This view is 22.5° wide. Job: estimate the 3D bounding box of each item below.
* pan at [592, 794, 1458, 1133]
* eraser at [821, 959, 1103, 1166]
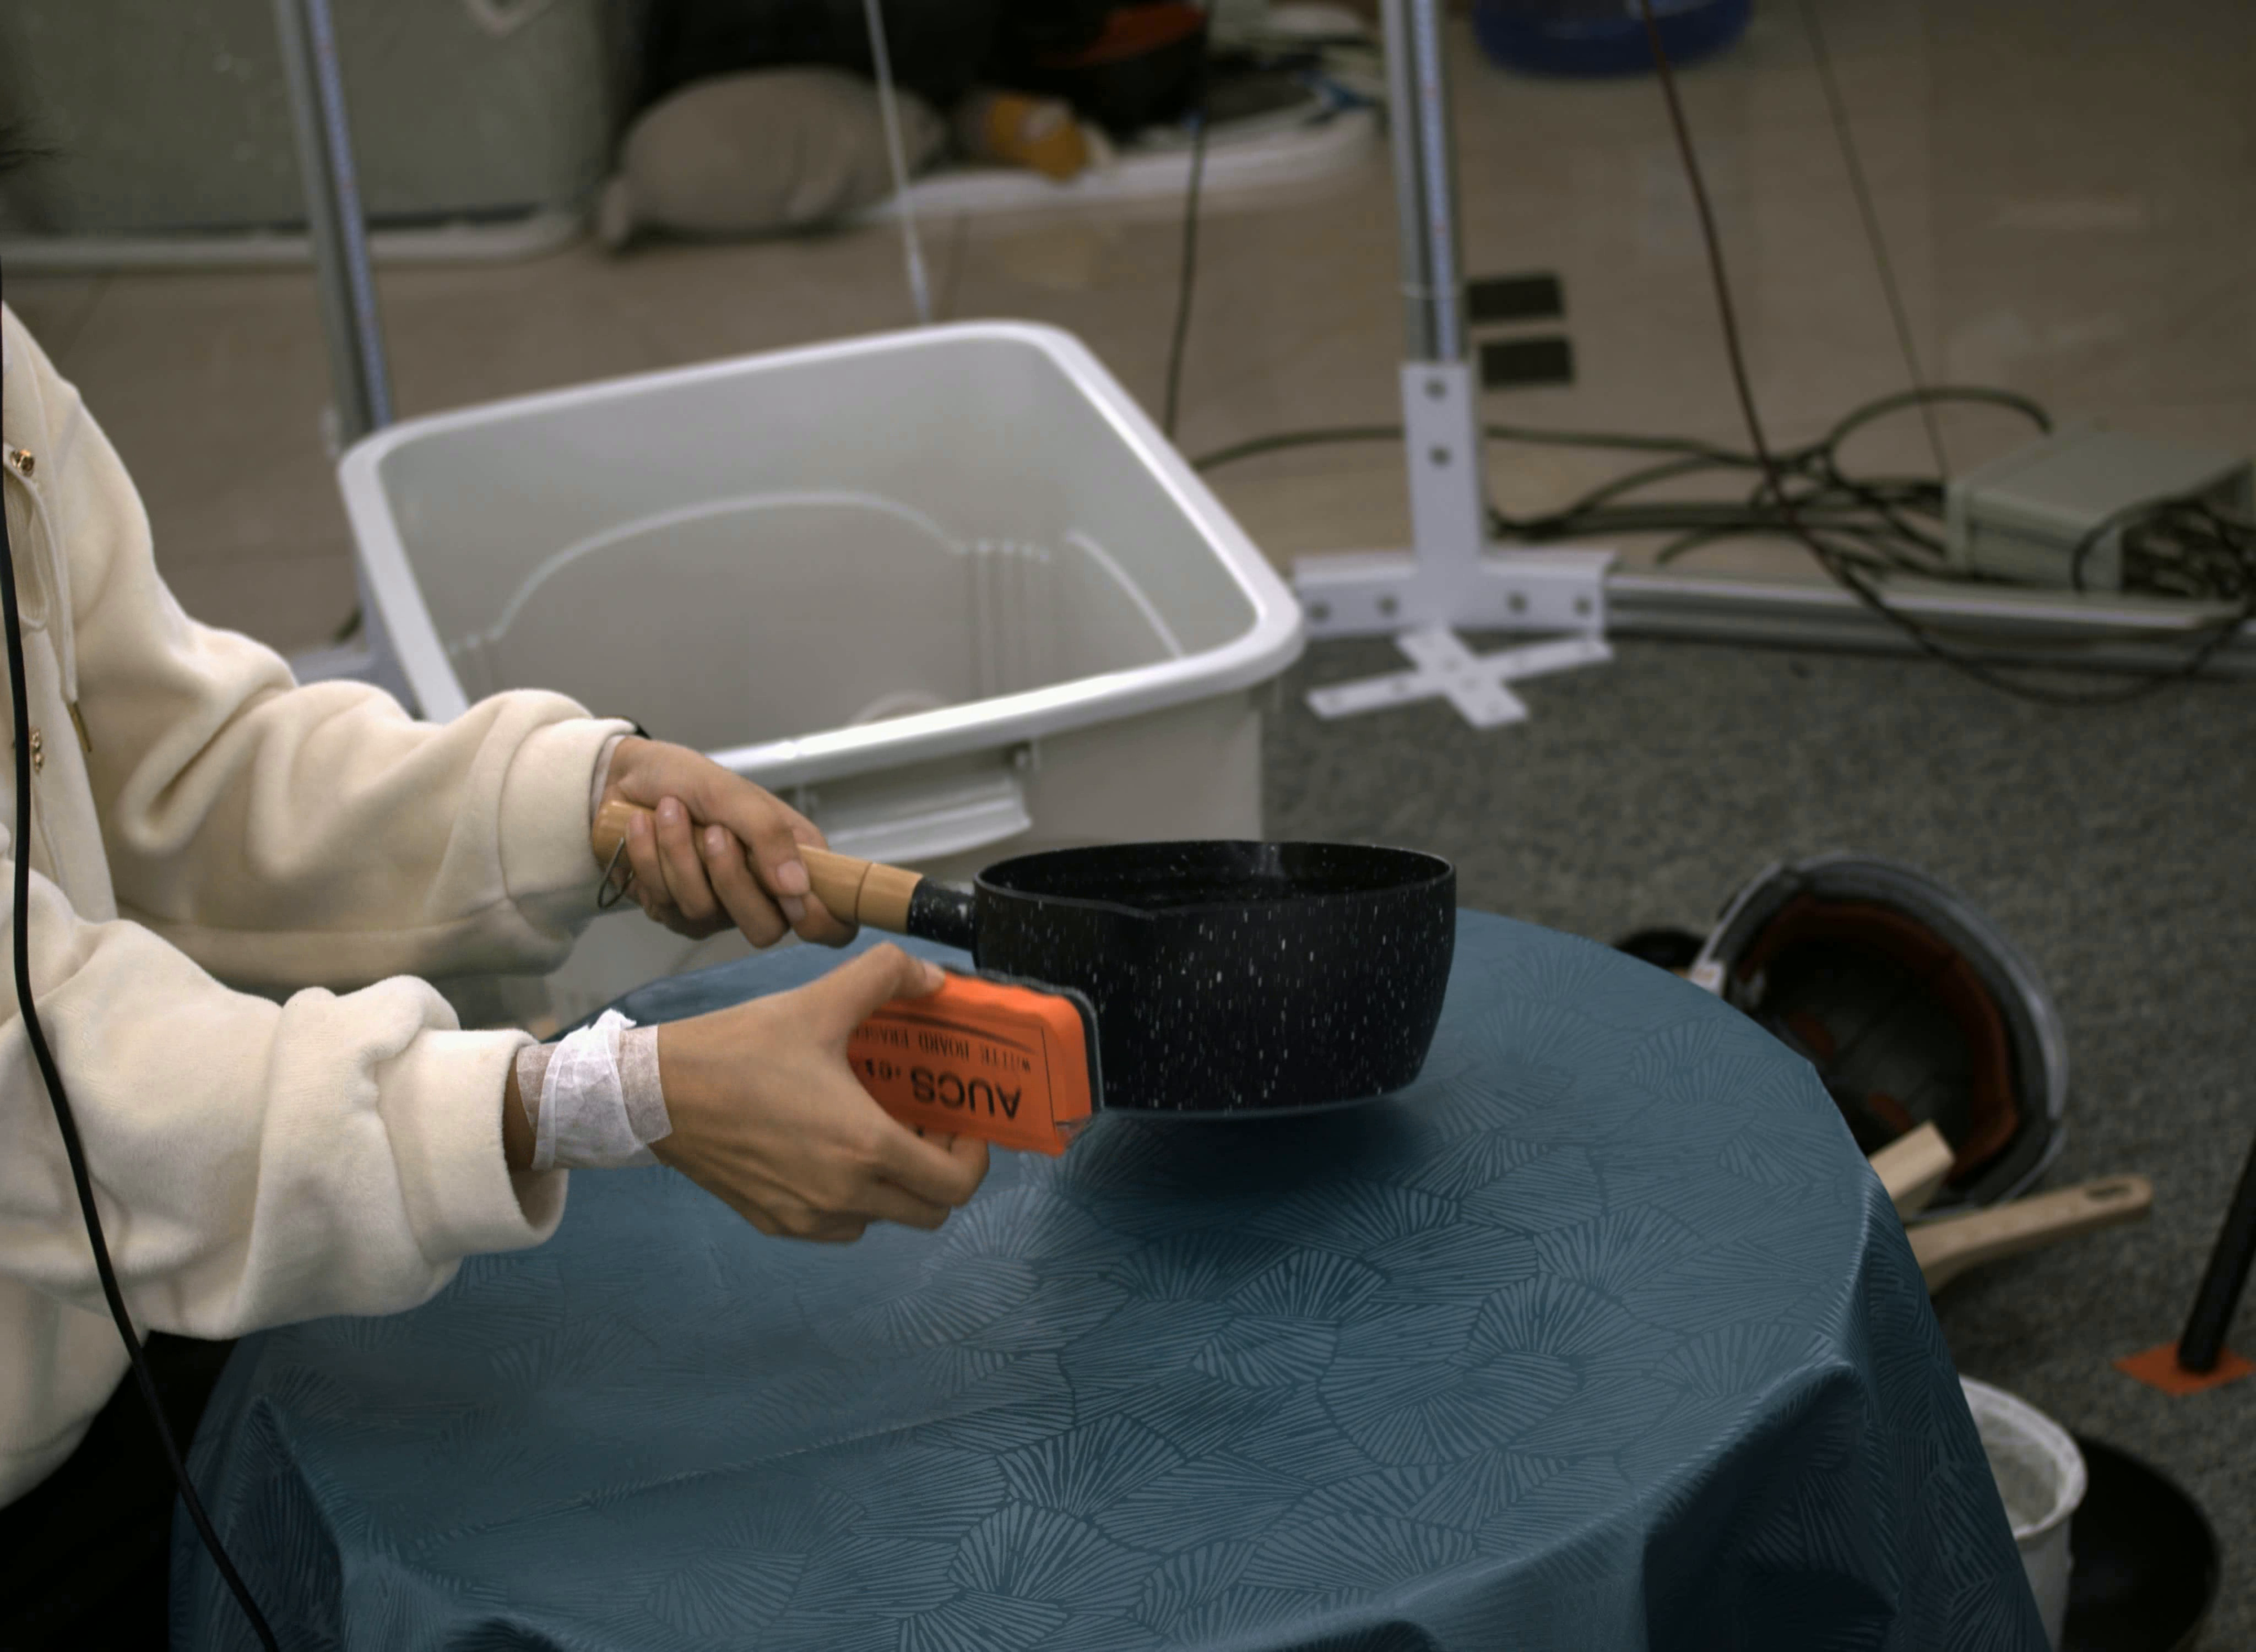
[{"bbox_3d":[-0.044,0.047,2.175,0.342,0.109,0.206,2,10,13],"label":"pan"},{"bbox_3d":[-0.060,0.084,2.027,0.107,0.060,0.022,10,27,34],"label":"eraser"}]
